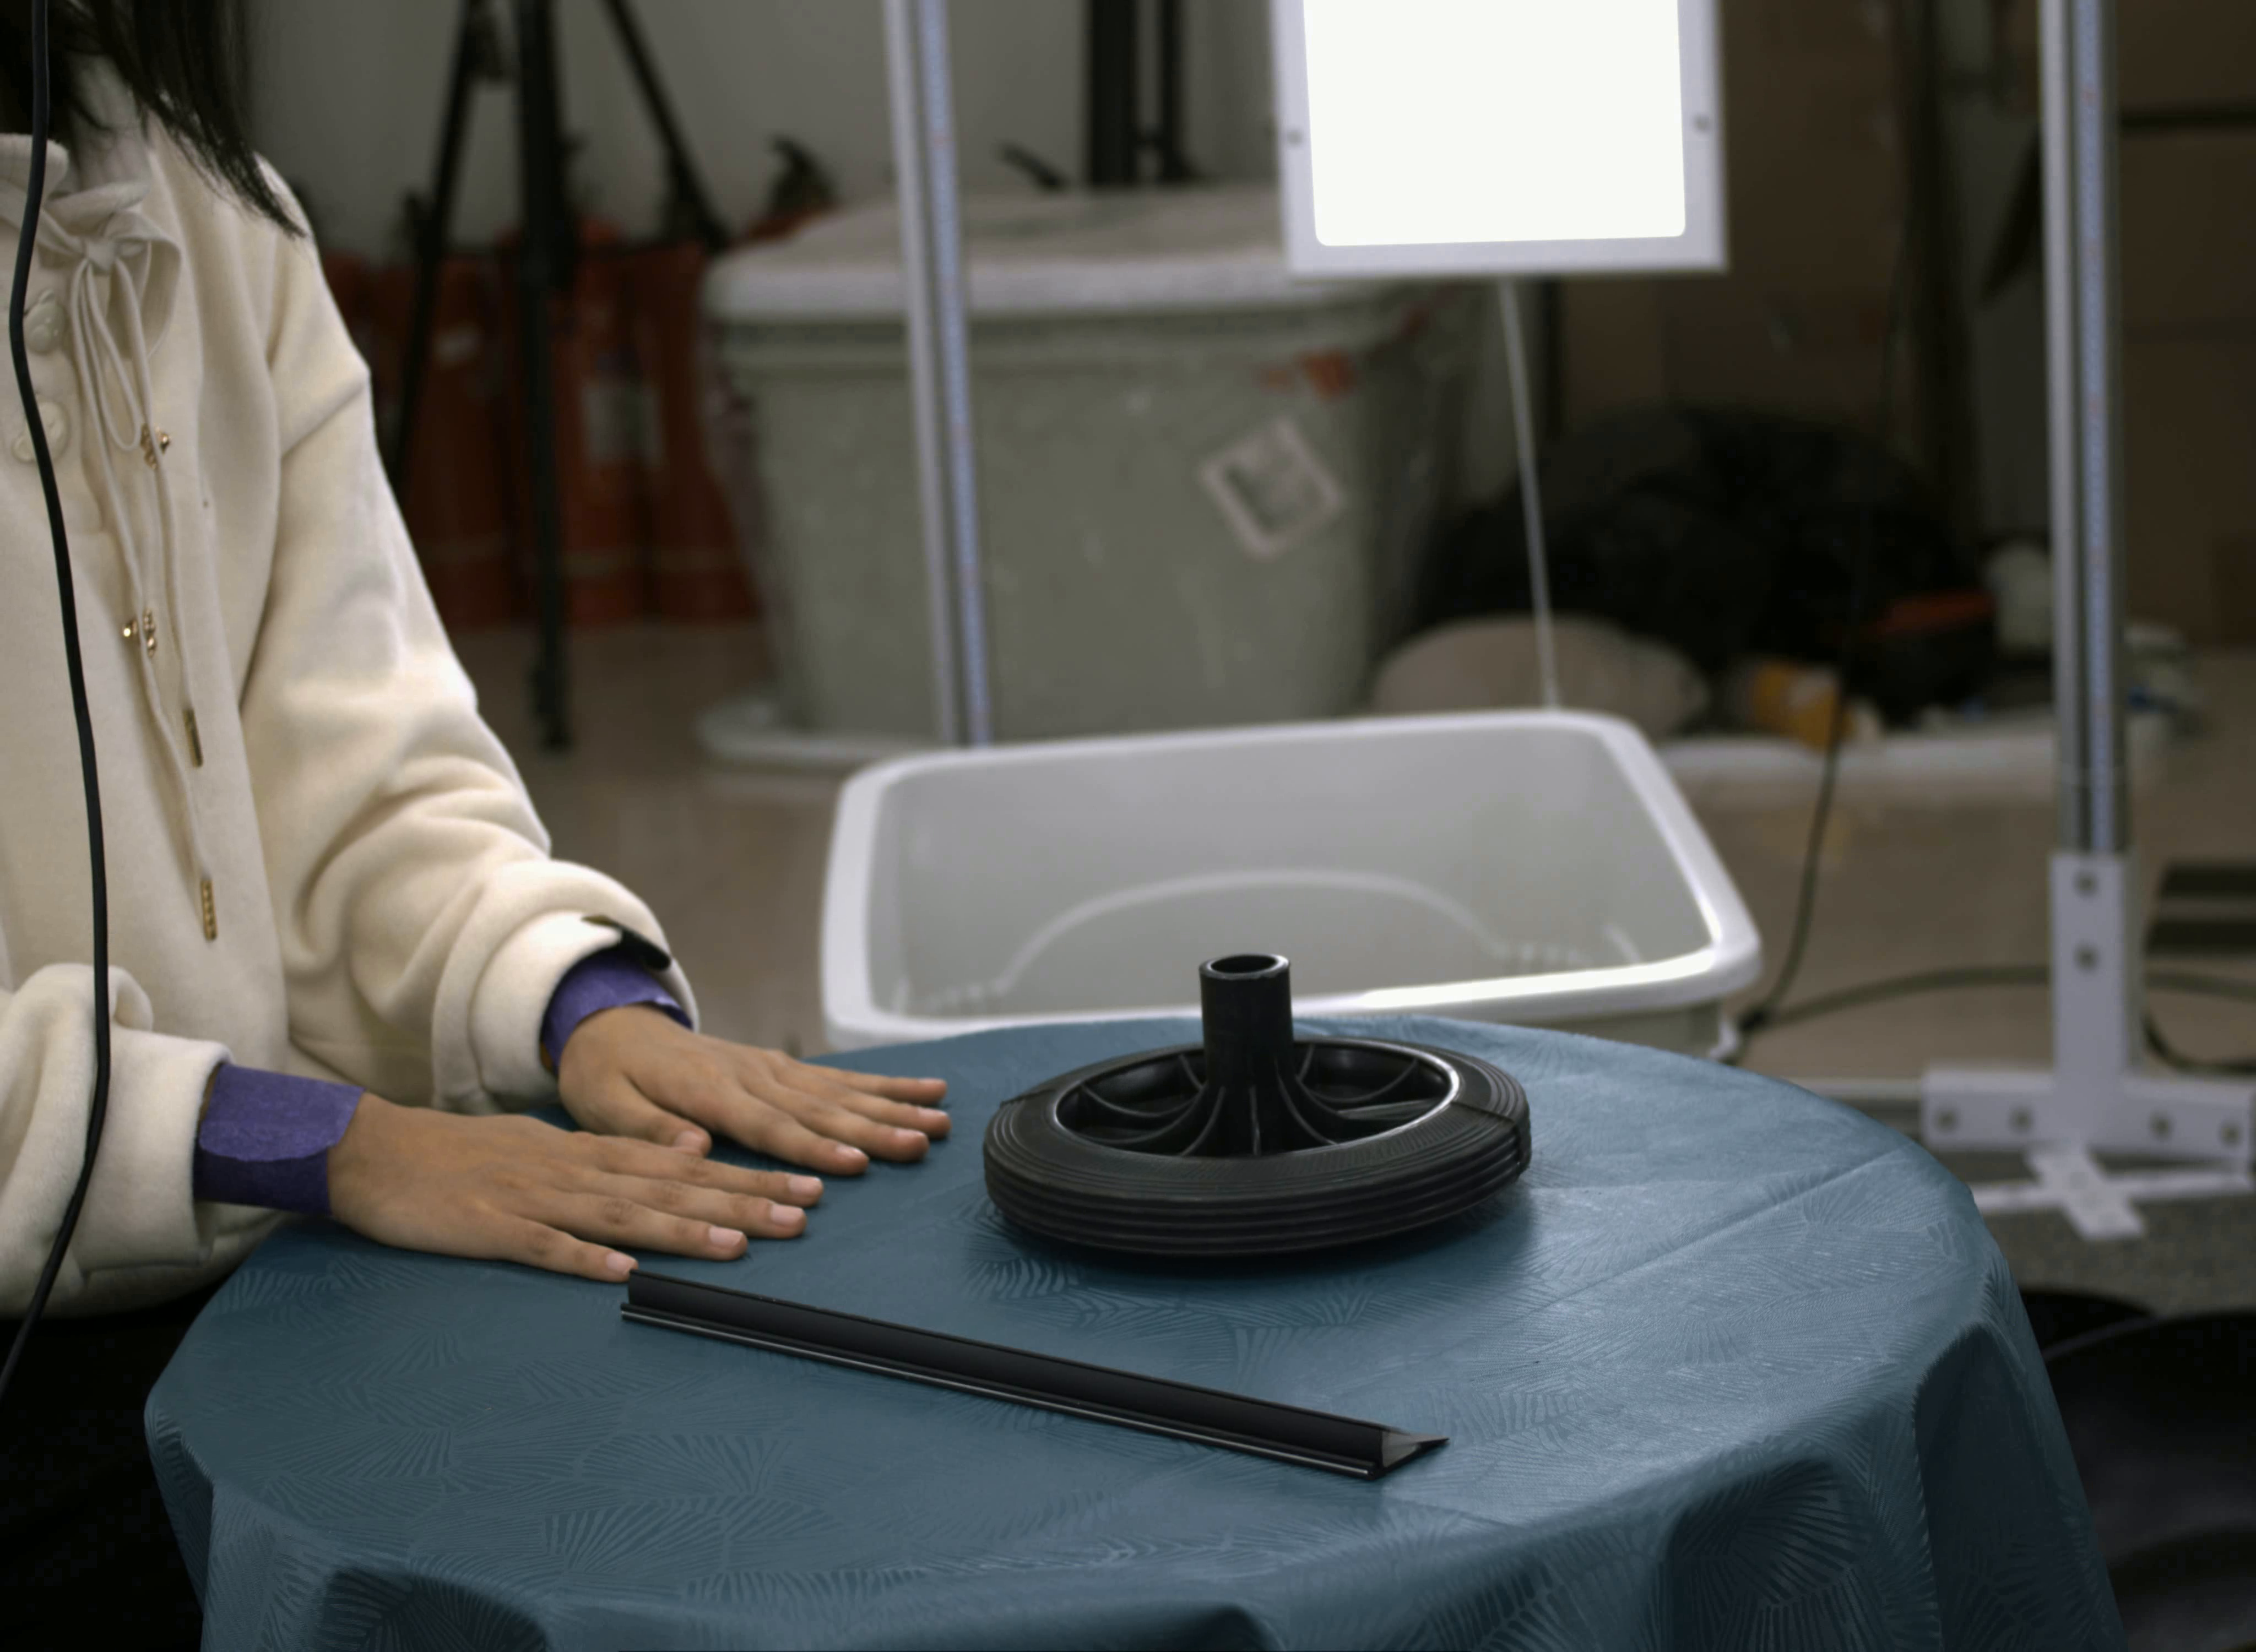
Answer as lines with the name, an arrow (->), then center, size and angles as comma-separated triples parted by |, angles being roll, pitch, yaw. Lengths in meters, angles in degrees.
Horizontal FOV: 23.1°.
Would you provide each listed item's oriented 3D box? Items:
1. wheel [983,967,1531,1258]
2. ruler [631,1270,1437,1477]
wheel -> 0.043, 0.090, 1.873 | 0.185, 0.079, 0.191 | -12, 16, -30
ruler -> -0.035, 0.165, 1.721 | 0.319, 0.017, 0.038 | 7, 14, 42
